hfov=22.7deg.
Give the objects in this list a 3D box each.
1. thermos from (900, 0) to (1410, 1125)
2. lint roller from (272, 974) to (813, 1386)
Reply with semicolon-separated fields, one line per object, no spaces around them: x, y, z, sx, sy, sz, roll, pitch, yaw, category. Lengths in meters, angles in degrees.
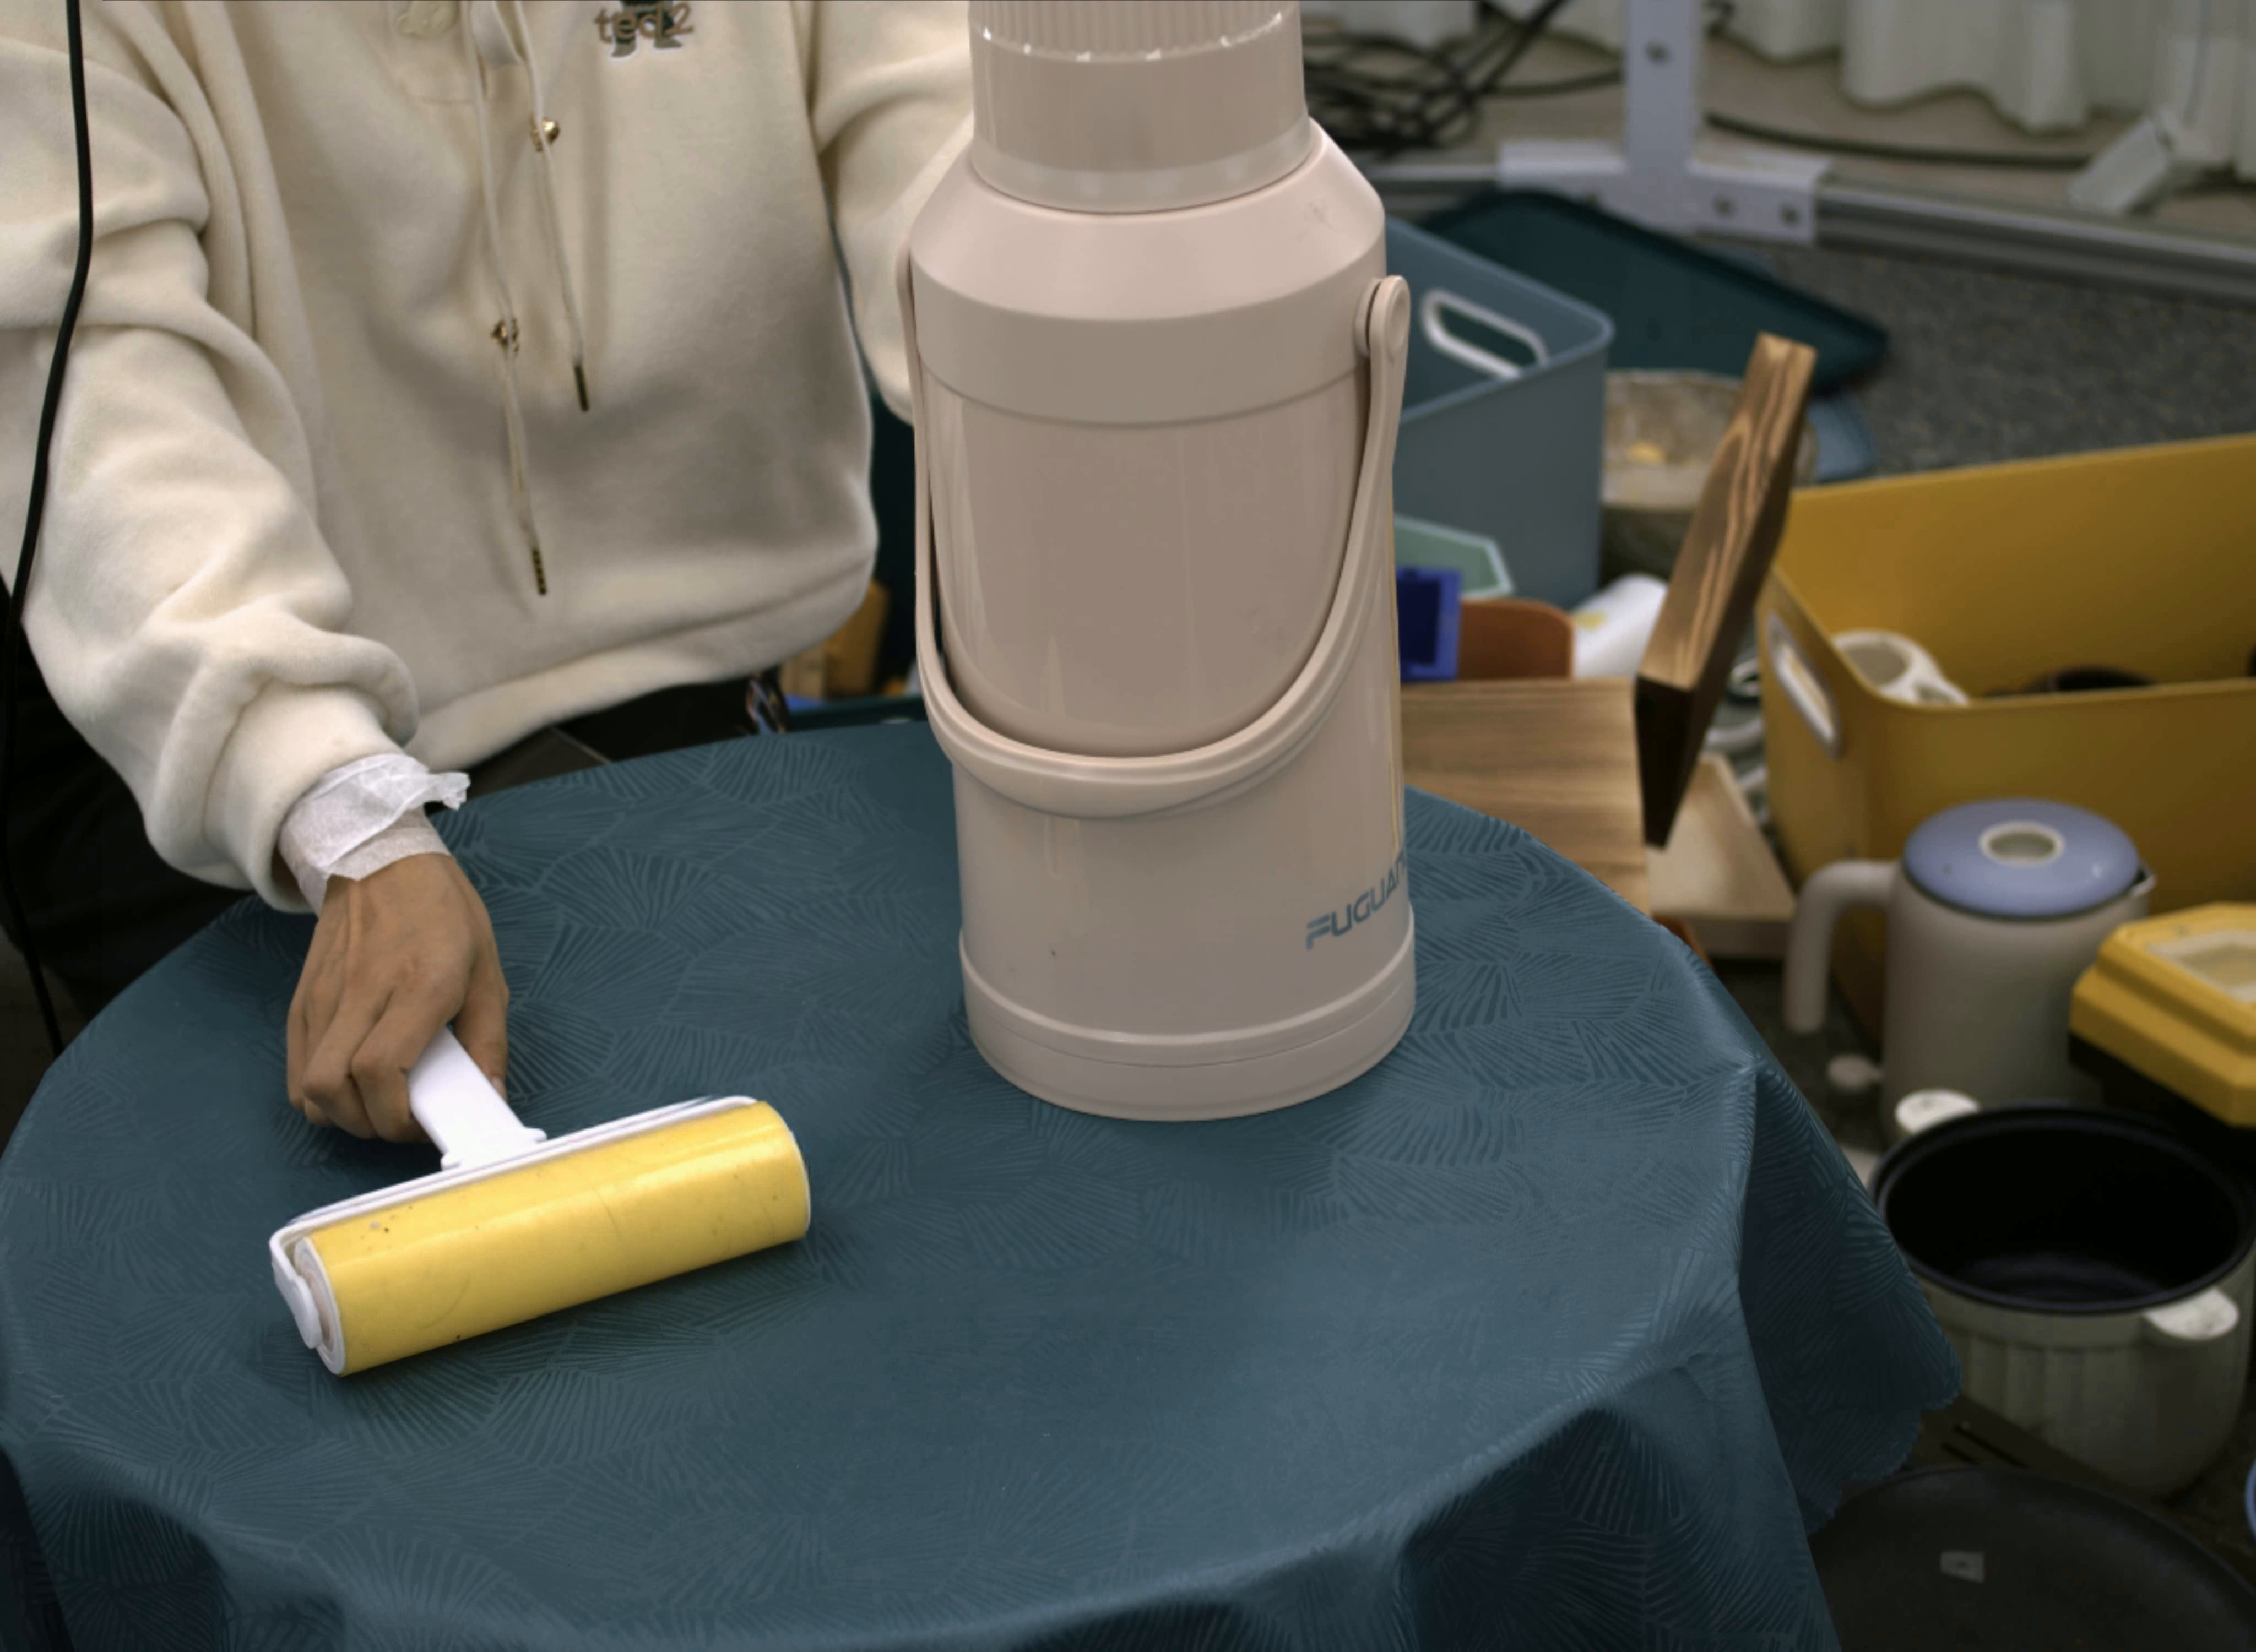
0.018;-0.117;1.894;0.174;0.402;0.210;7;28;22;thermos
-0.217;0.096;1.856;0.175;0.050;0.194;-15;43;-23;lint roller
